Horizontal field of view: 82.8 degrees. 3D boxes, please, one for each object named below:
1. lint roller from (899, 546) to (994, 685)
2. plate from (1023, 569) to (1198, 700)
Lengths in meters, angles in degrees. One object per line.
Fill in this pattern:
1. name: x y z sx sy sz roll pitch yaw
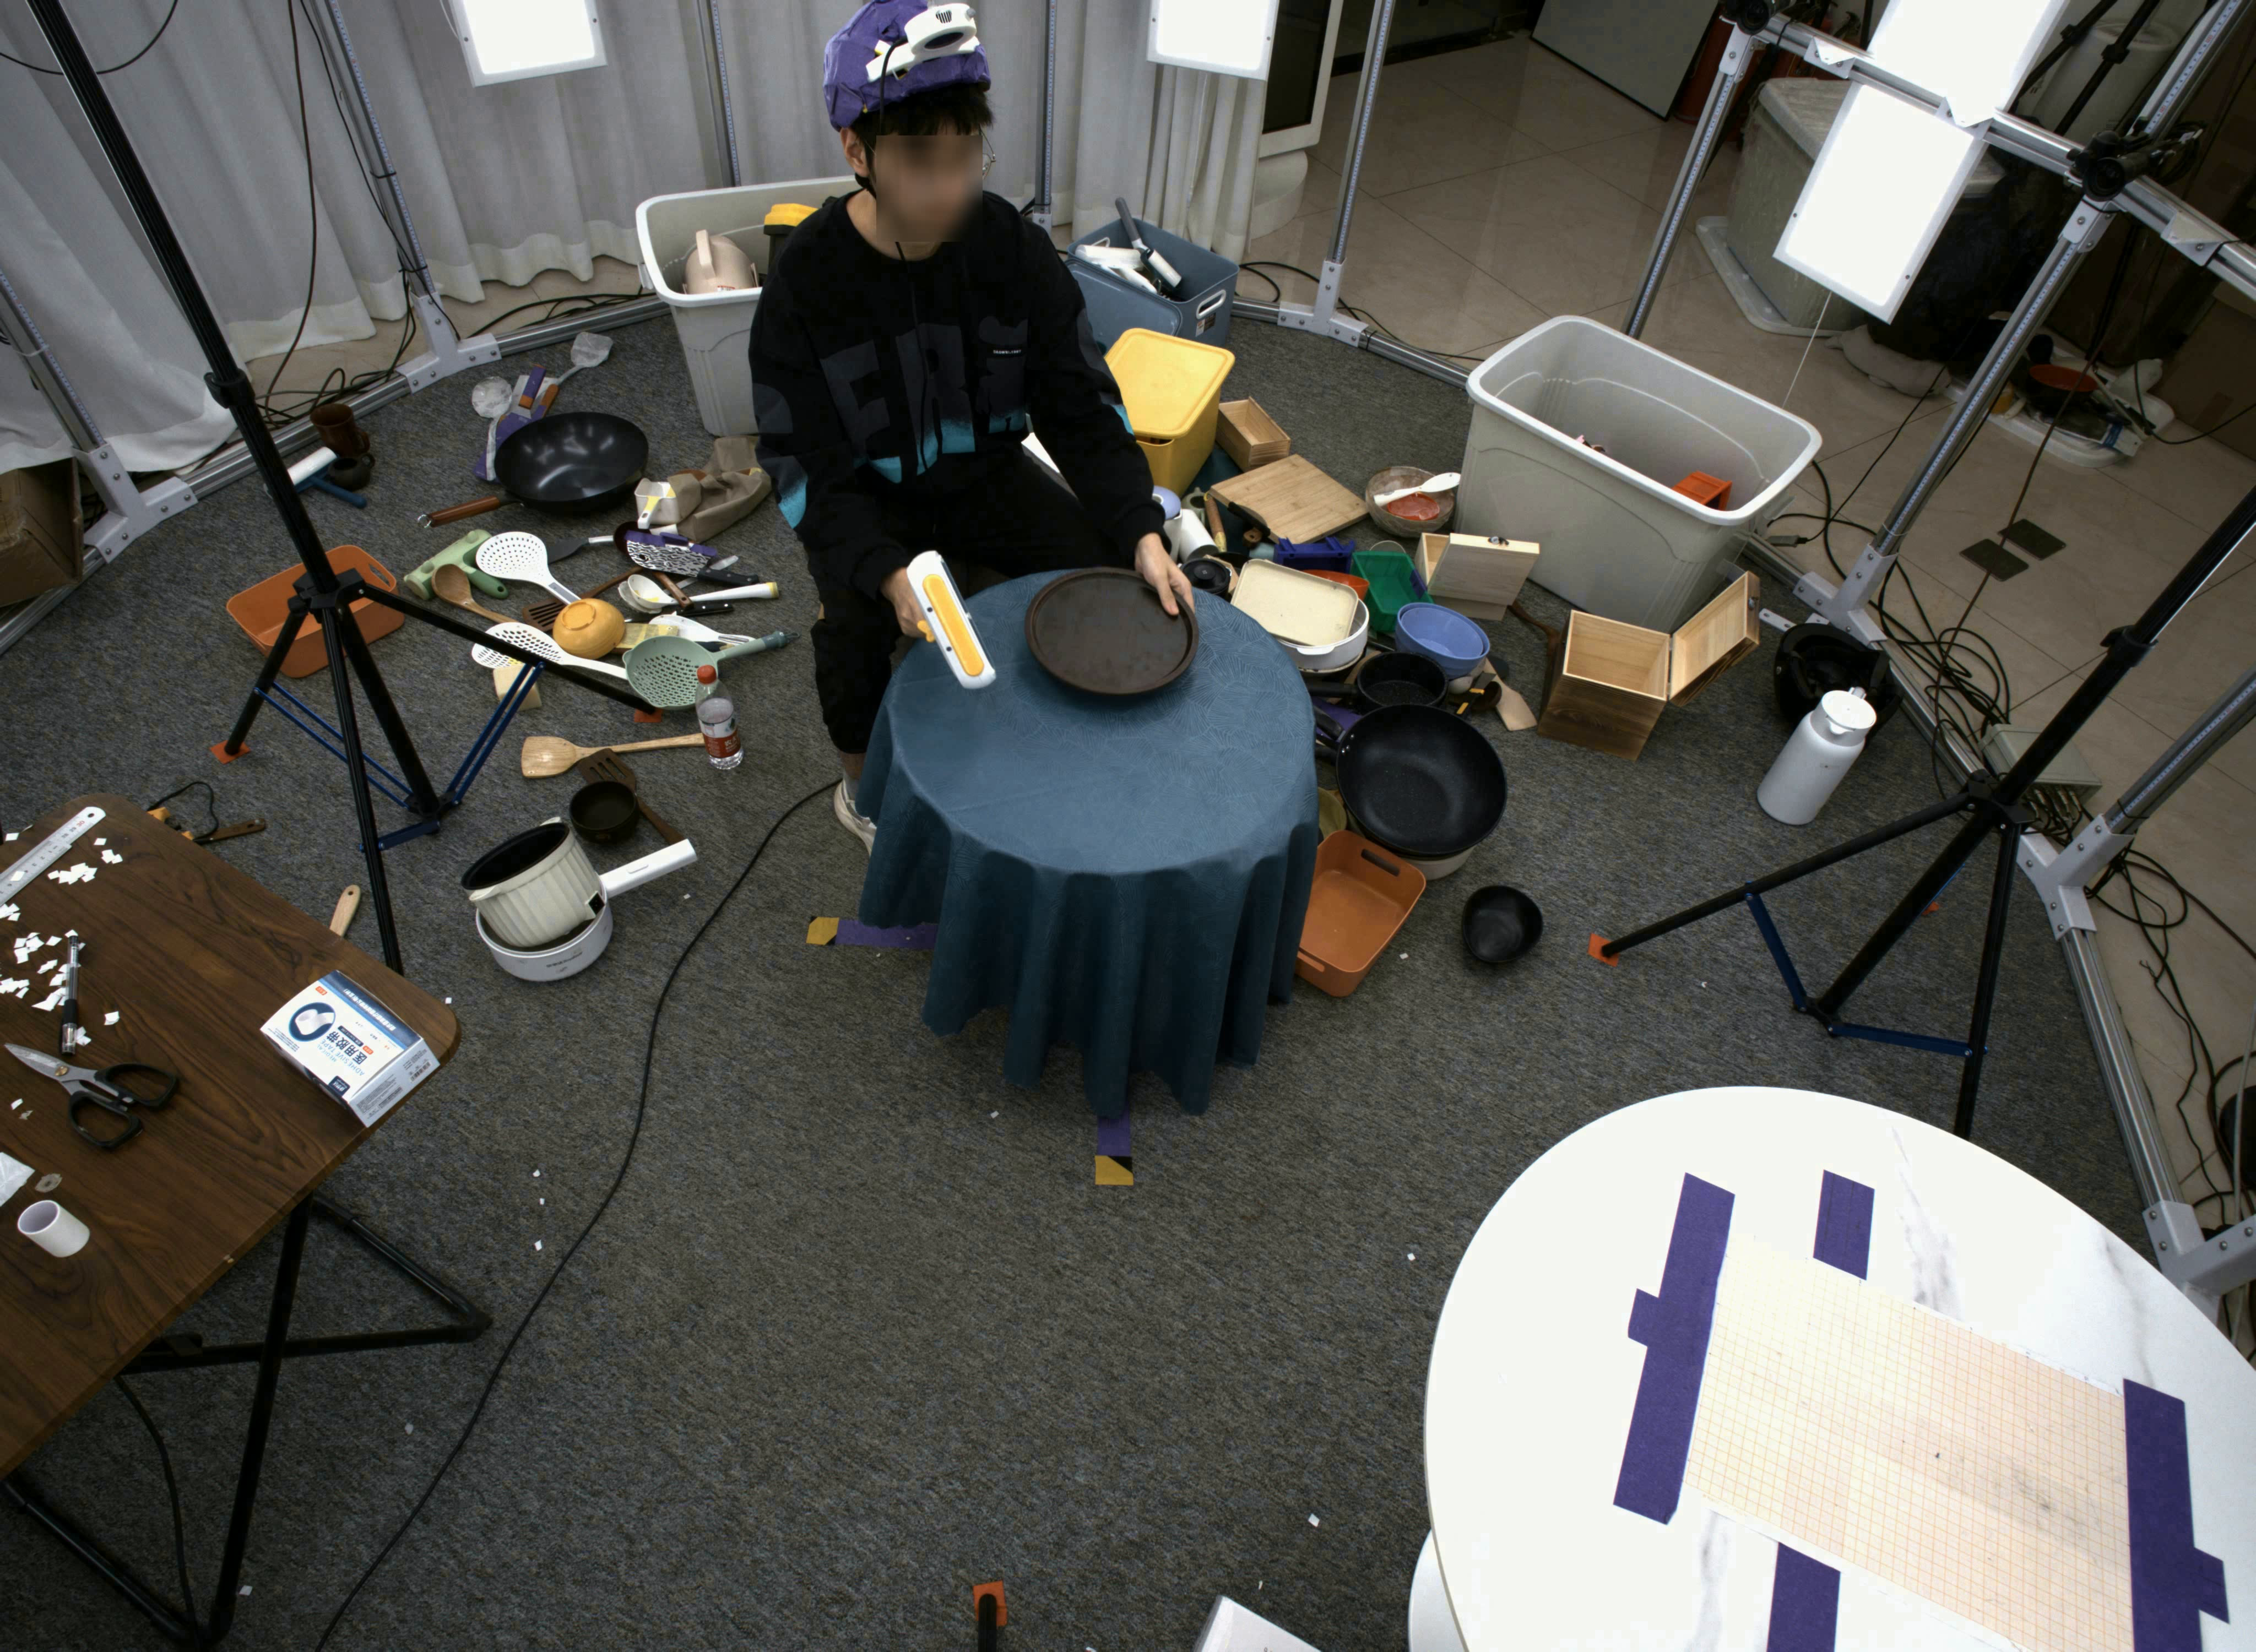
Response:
1. lint roller: -0.252 -0.285 1.756 0.074 0.191 0.194 -31 15 -2
2. plate: -0.024 -0.279 1.860 0.254 0.028 0.261 2 51 -3
